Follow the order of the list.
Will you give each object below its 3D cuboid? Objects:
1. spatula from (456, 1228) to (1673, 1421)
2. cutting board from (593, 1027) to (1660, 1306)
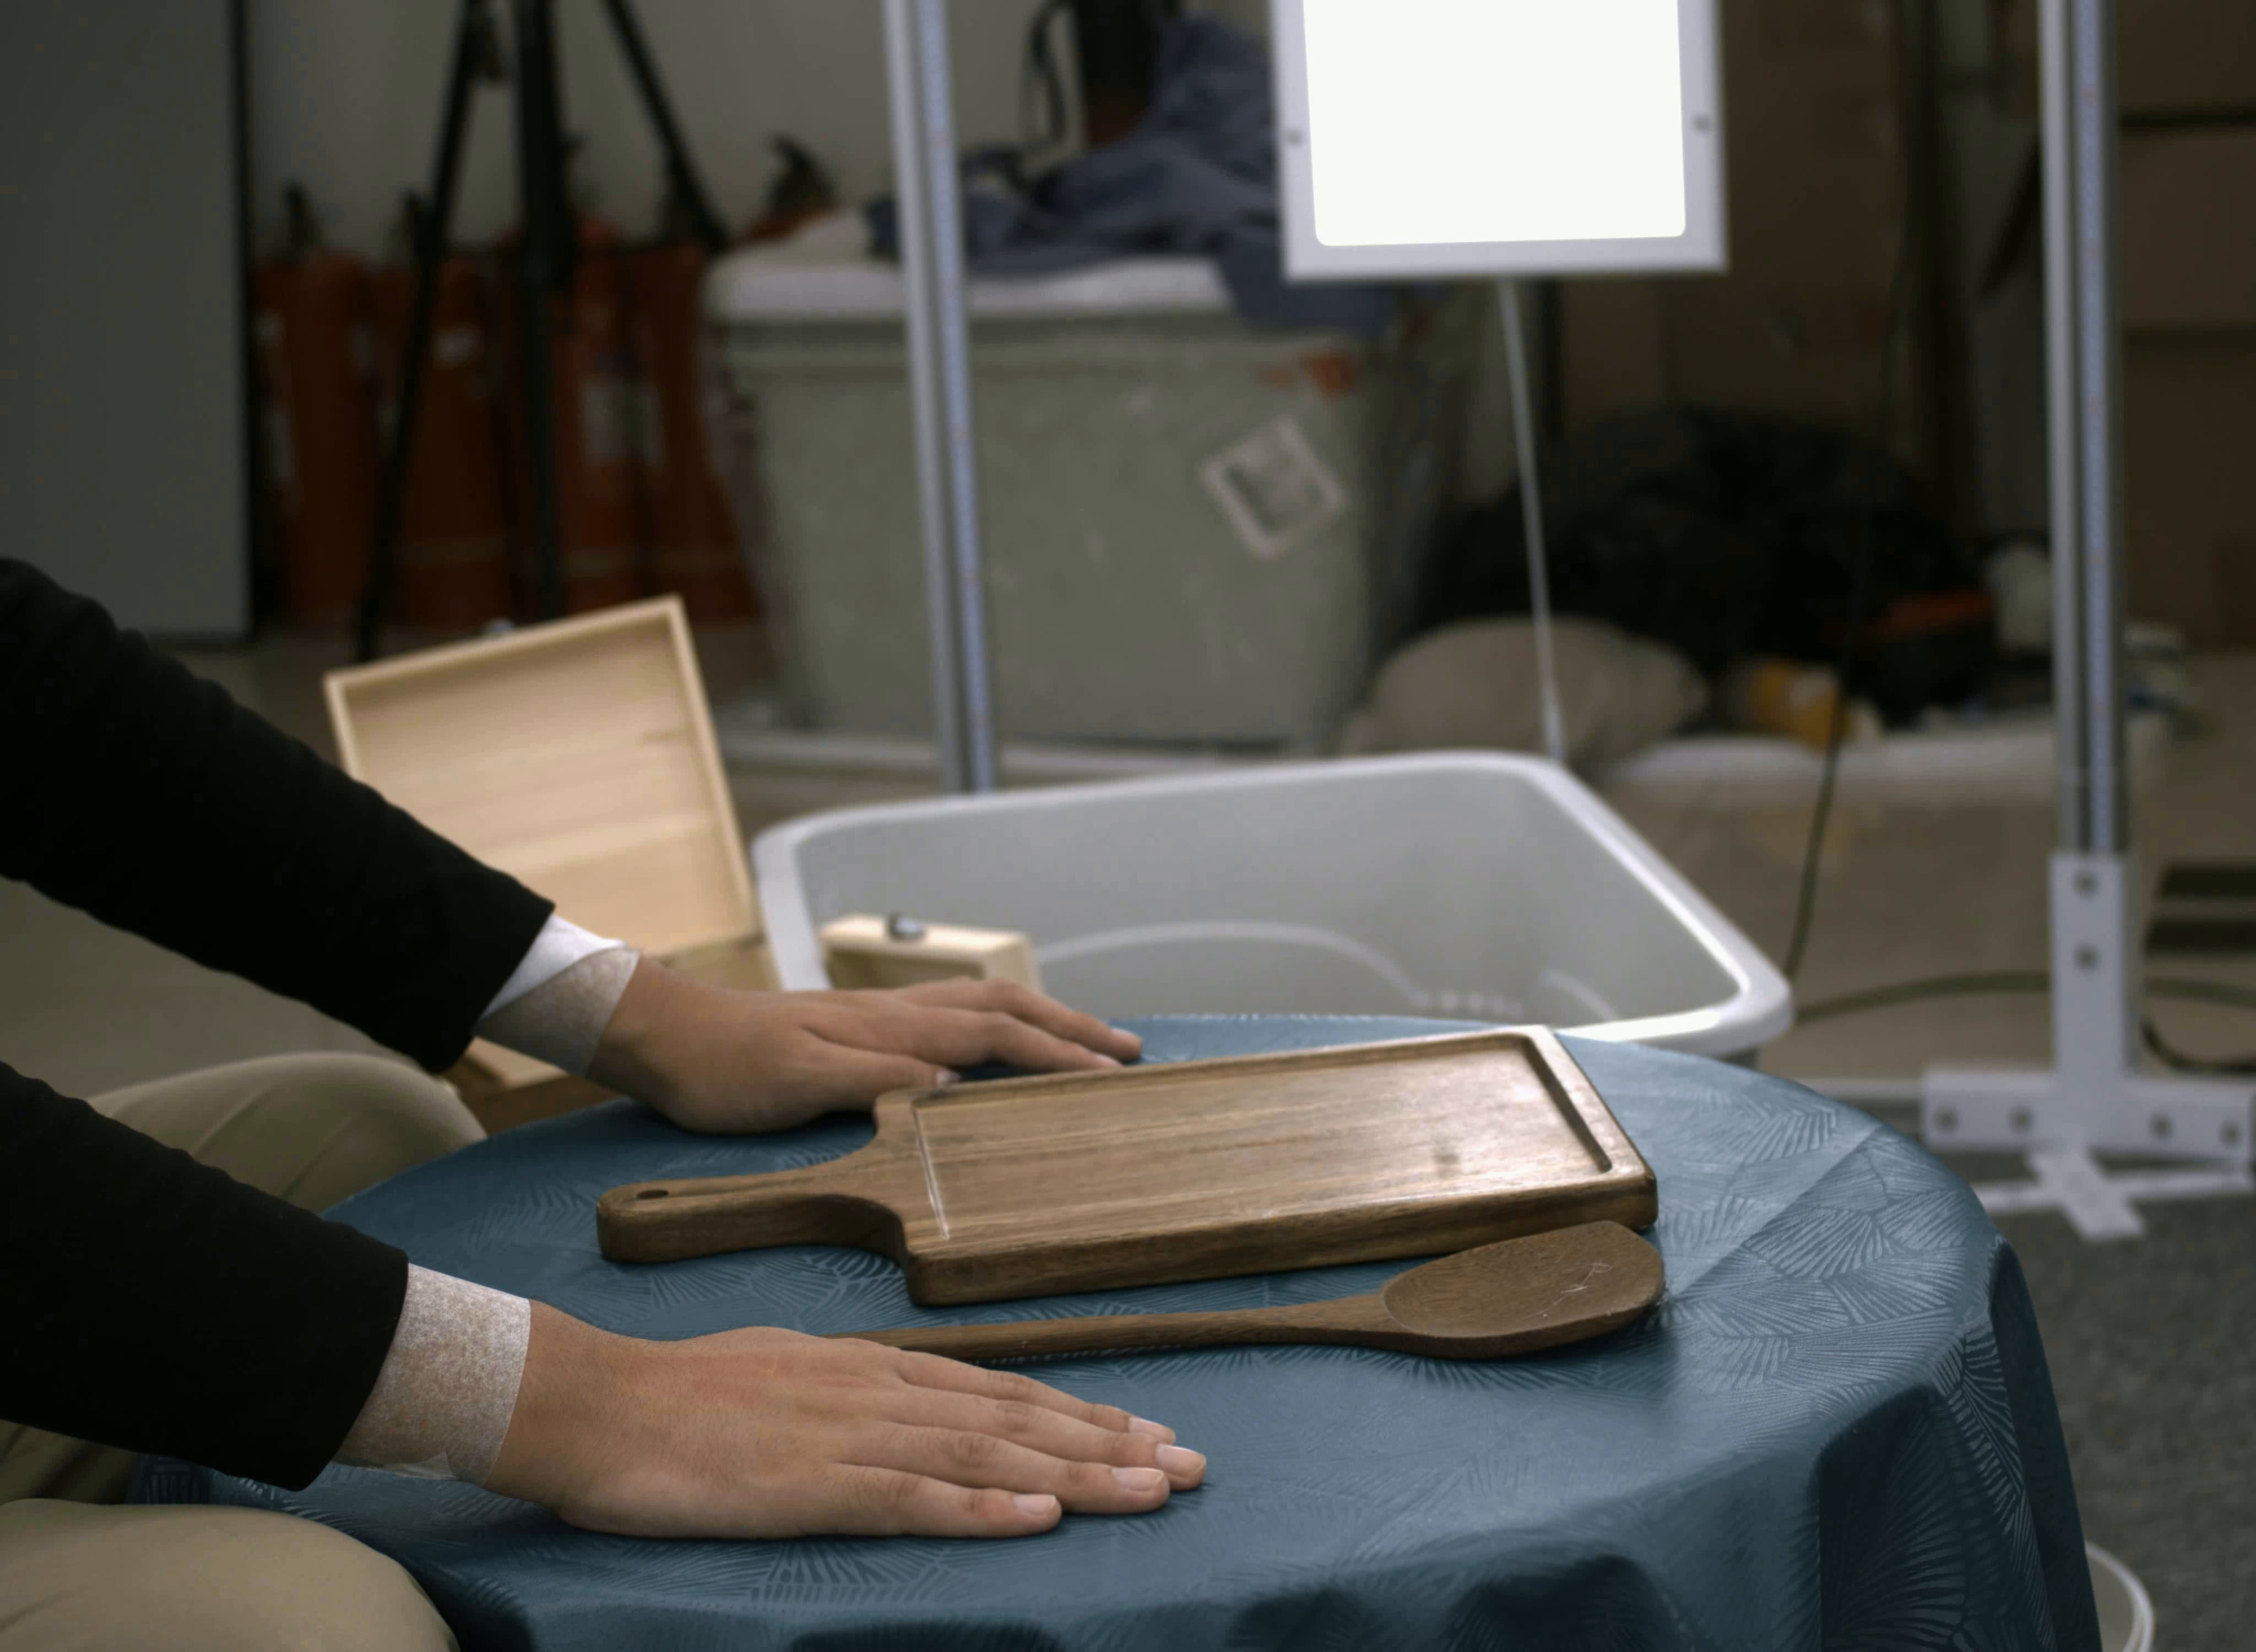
[{"bbox_3d":[-0.020,0.161,1.735,0.385,0.016,0.096,-5,13,1],"label":"spatula"},{"bbox_3d":[-0.008,0.119,1.888,0.350,0.023,0.201,-6,14,-3],"label":"cutting board"}]
